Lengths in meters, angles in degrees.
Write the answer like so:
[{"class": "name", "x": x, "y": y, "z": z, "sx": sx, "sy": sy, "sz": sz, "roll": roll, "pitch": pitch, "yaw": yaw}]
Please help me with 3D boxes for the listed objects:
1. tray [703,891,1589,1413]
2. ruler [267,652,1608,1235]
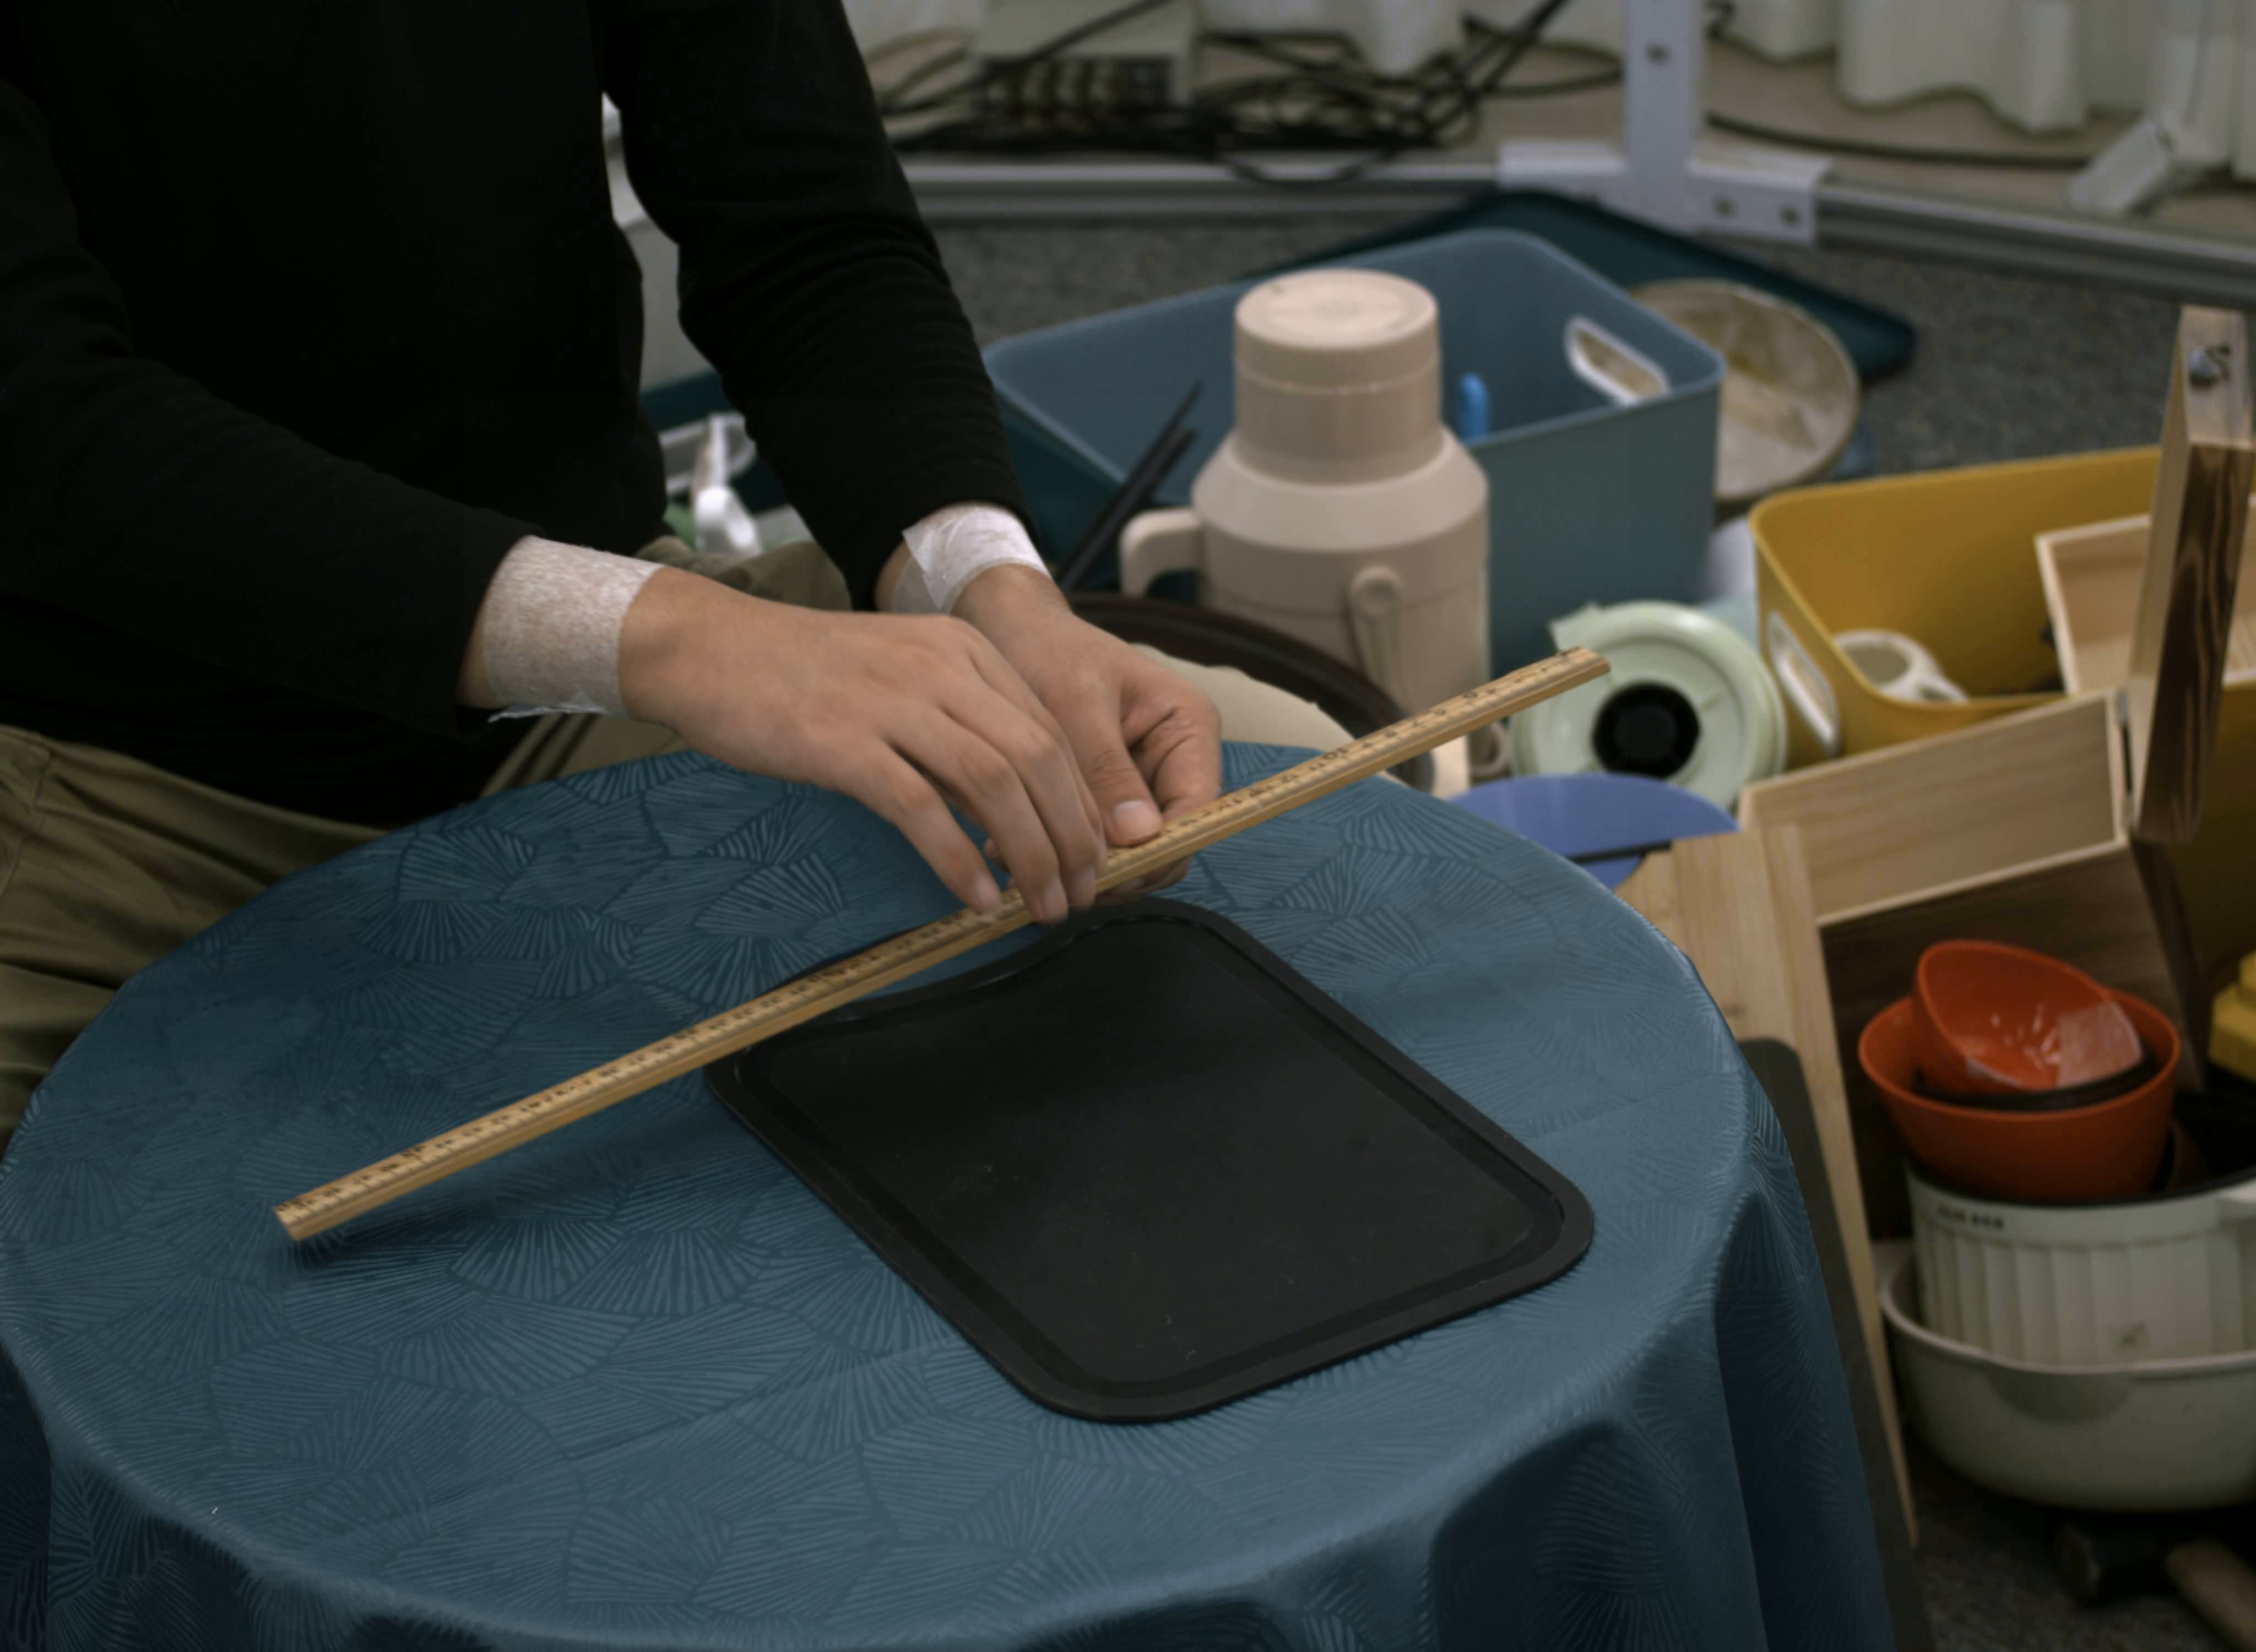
[{"class": "tray", "x": -0.004, "y": 0.100, "z": 1.894, "sx": 0.212, "sy": 0.009, "sz": 0.327, "roll": -17, "pitch": 31, "yaw": -25}, {"class": "ruler", "x": -0.059, "y": 0.036, "z": 1.911, "sx": 0.502, "sy": 0.006, "sz": 0.027, "roll": -23, "pitch": 18, "yaw": -15}]
